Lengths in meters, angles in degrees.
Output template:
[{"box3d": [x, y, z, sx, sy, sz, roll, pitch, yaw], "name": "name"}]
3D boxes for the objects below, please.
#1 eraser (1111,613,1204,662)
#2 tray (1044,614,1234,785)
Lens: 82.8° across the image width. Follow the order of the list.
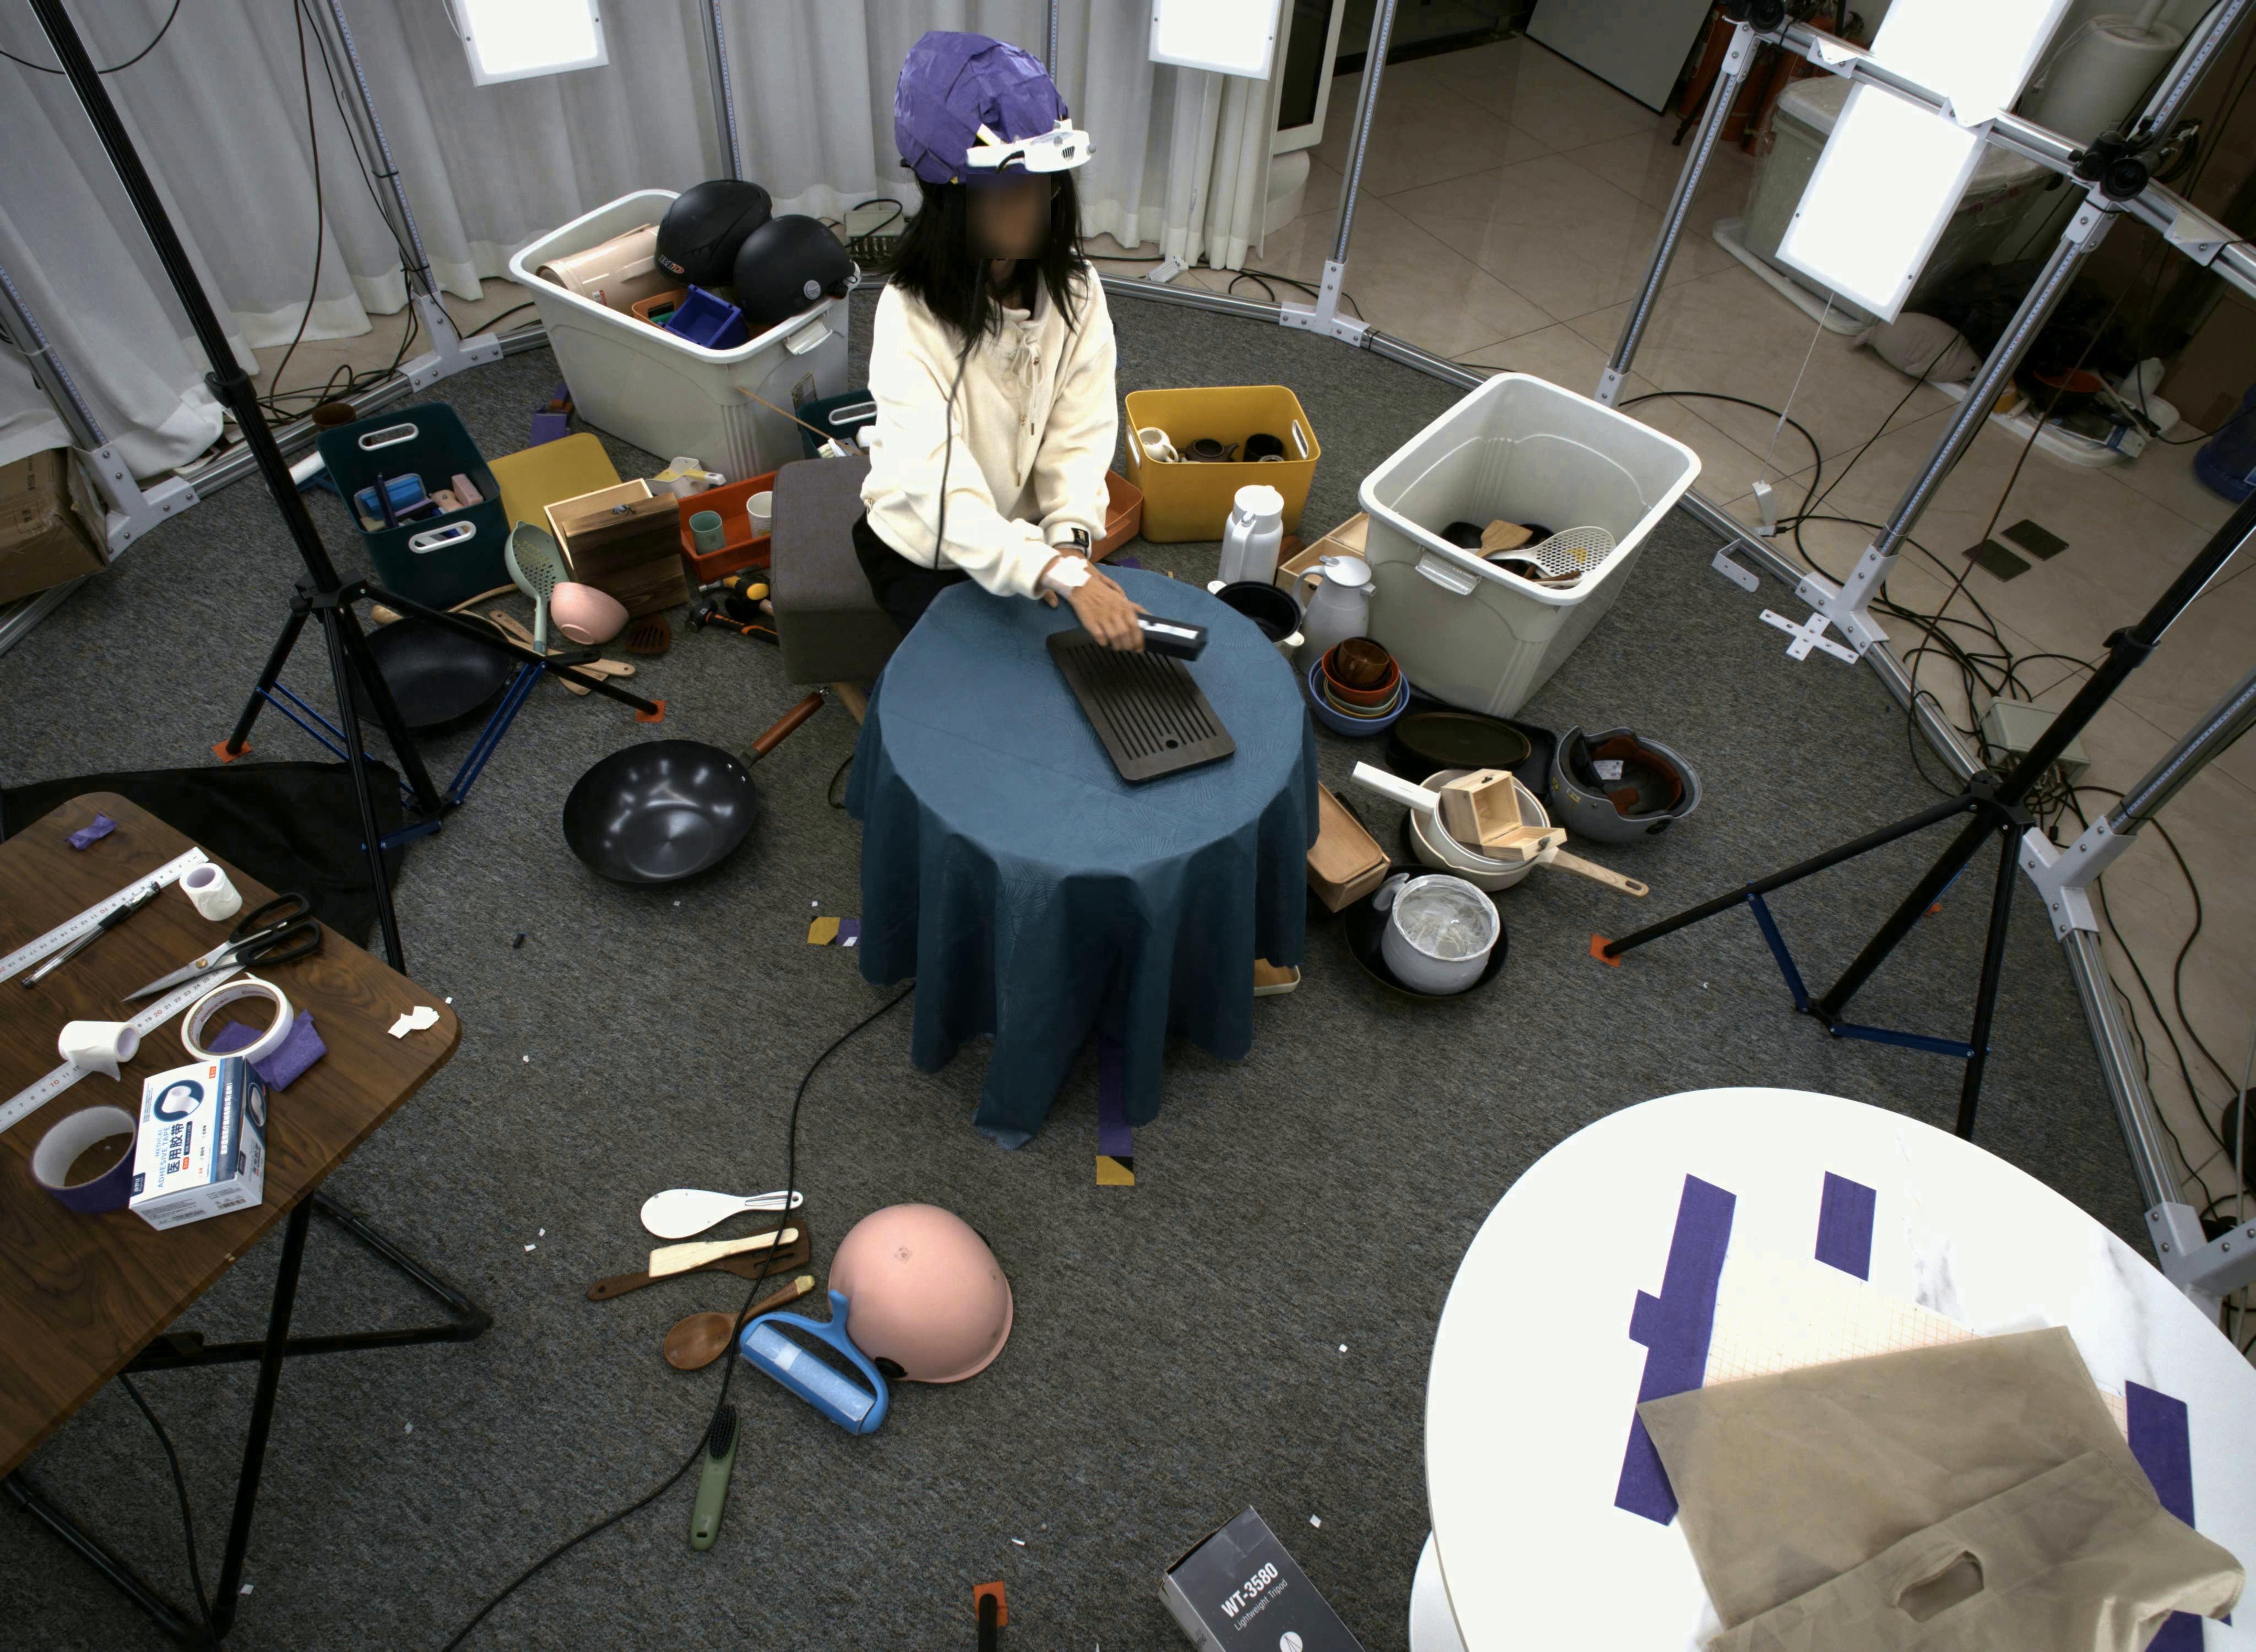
[{"box3d": [0.042, -0.268, 1.819, 0.126, 0.030, 0.054, 14, 45, 16], "name": "eraser"}, {"box3d": [0.012, -0.184, 1.819, 0.170, 0.018, 0.313, -16, 52, -17], "name": "tray"}]
